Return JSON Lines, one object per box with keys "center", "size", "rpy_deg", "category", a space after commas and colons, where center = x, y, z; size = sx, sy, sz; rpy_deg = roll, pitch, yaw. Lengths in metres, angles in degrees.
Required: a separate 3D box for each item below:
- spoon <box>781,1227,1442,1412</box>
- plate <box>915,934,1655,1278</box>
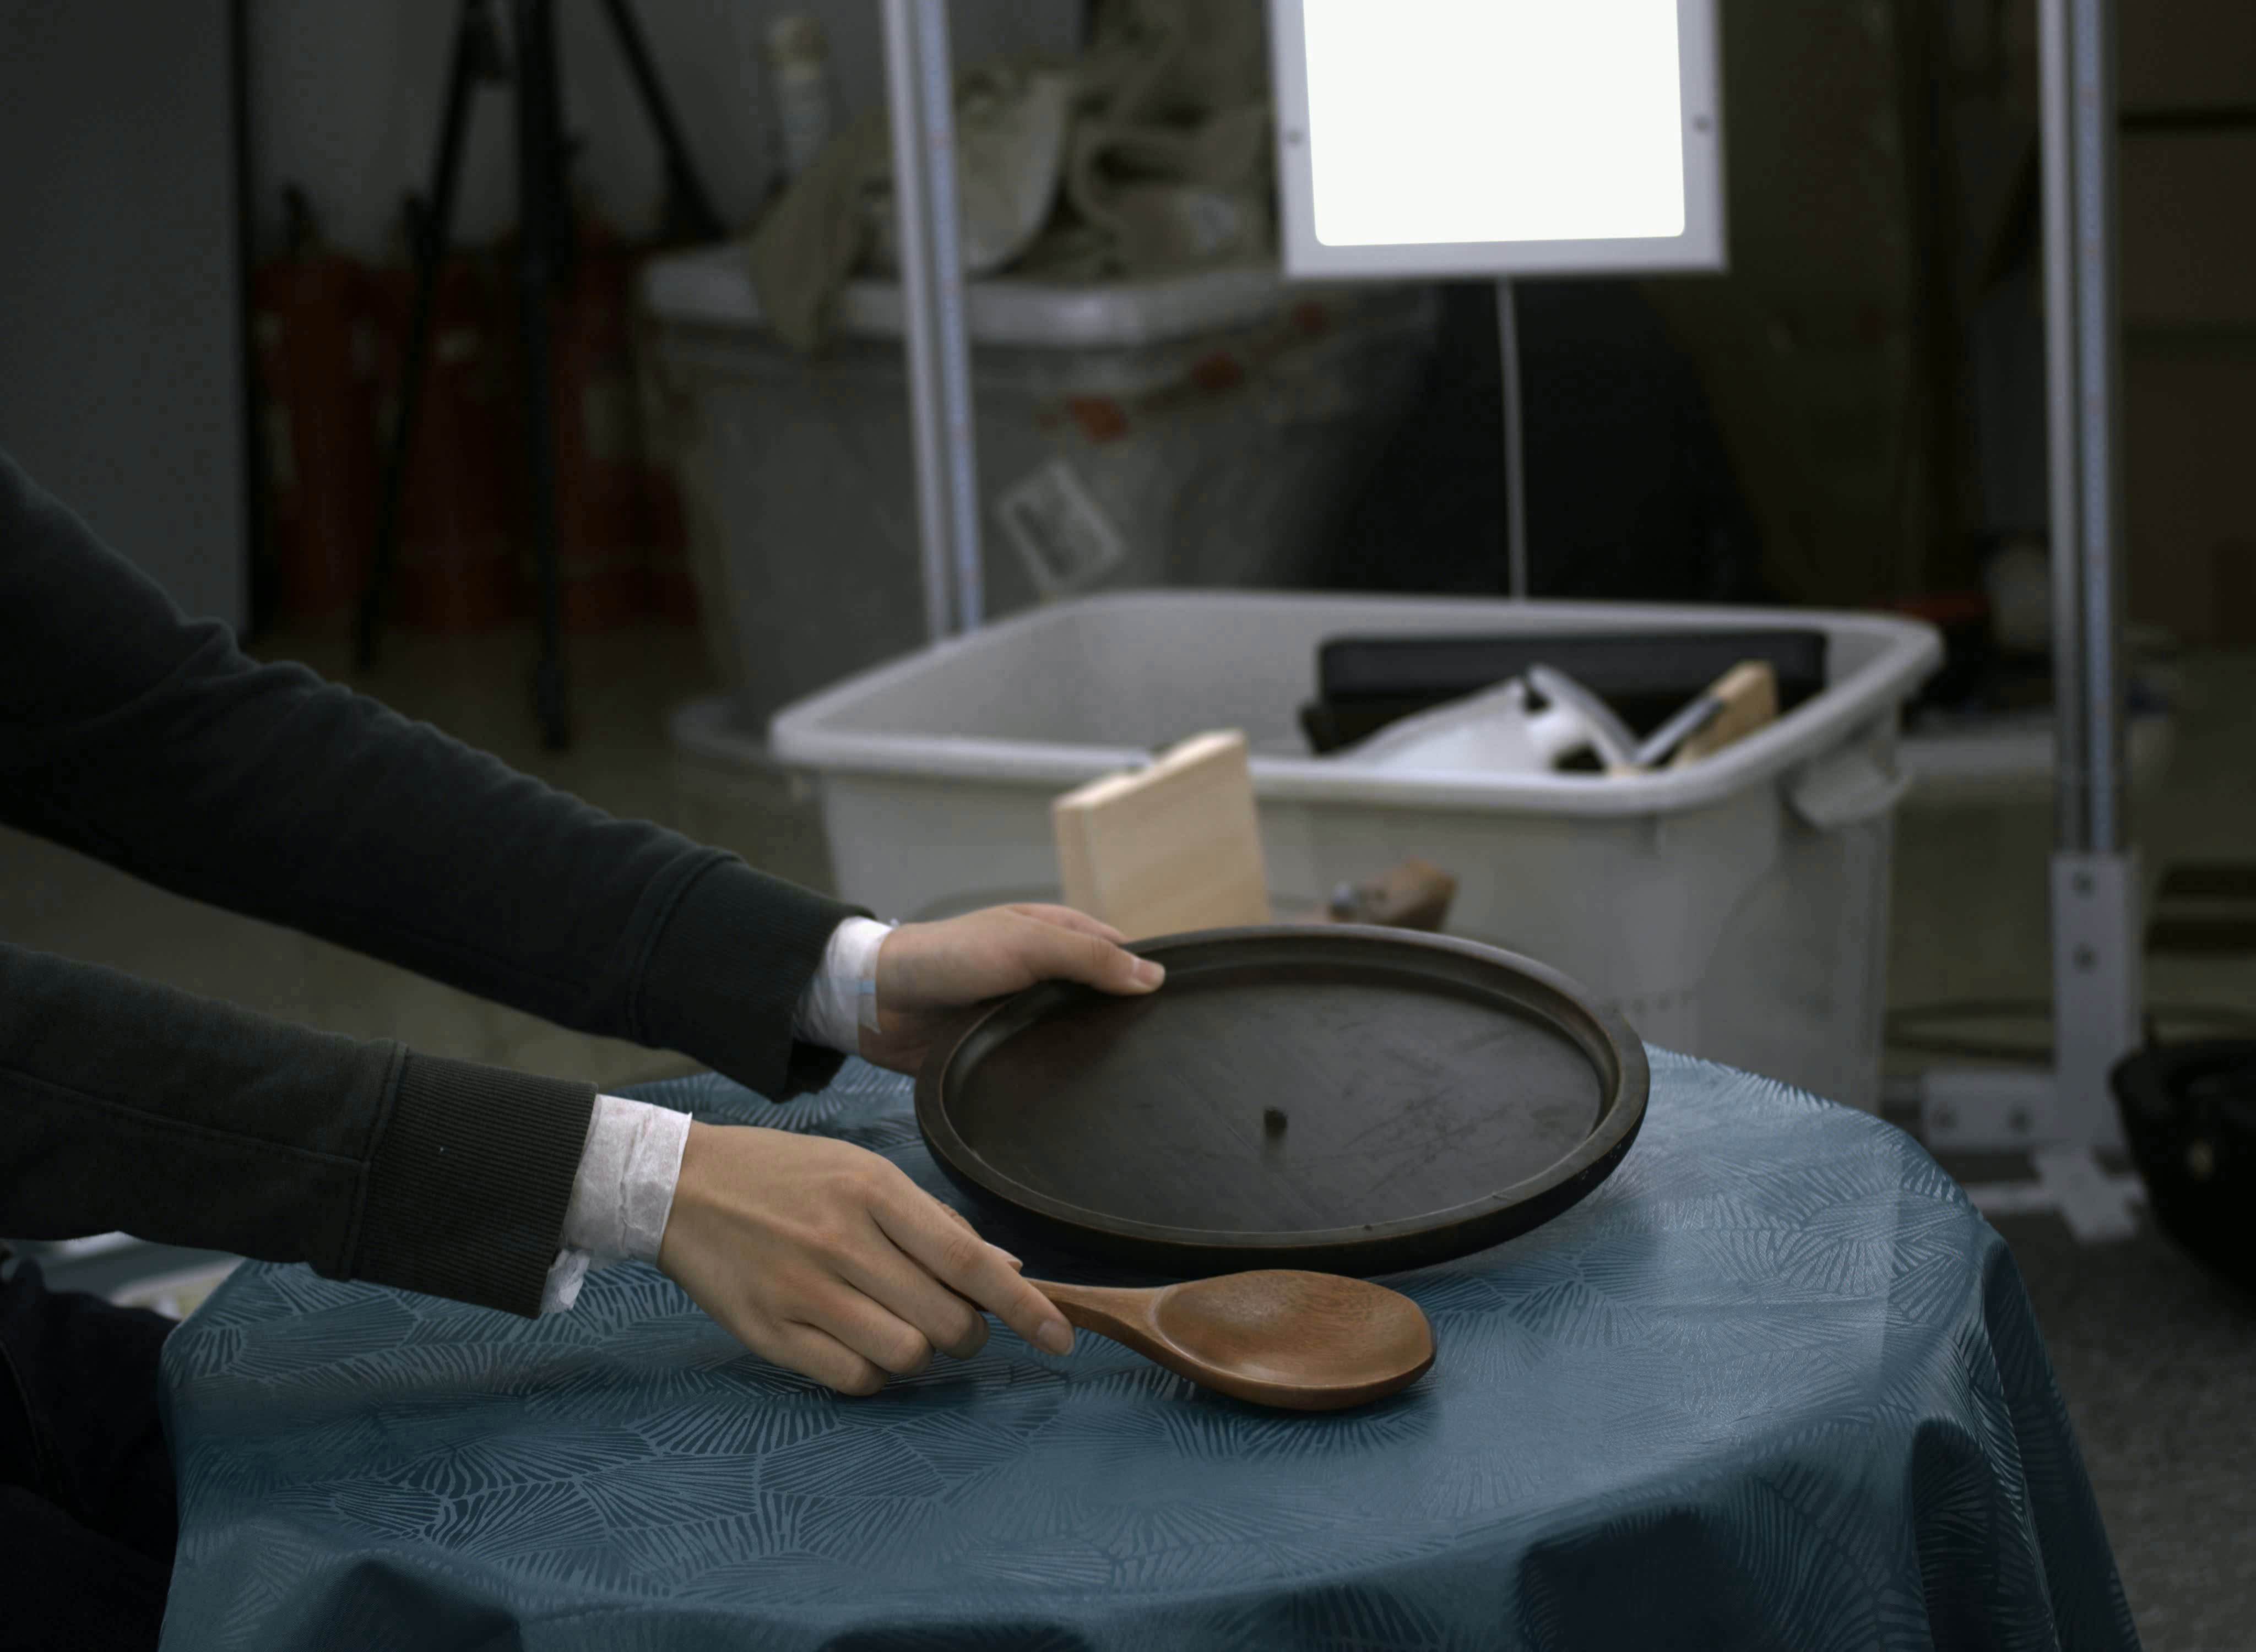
{"center": [-0.007, 0.151, 1.715], "size": [0.218, 0.017, 0.074], "rpy_deg": [9, 27, 19], "category": "spoon"}
{"center": [0.054, 0.094, 1.882], "size": [0.254, 0.029, 0.254], "rpy_deg": [-2, 23, 0], "category": "plate"}
